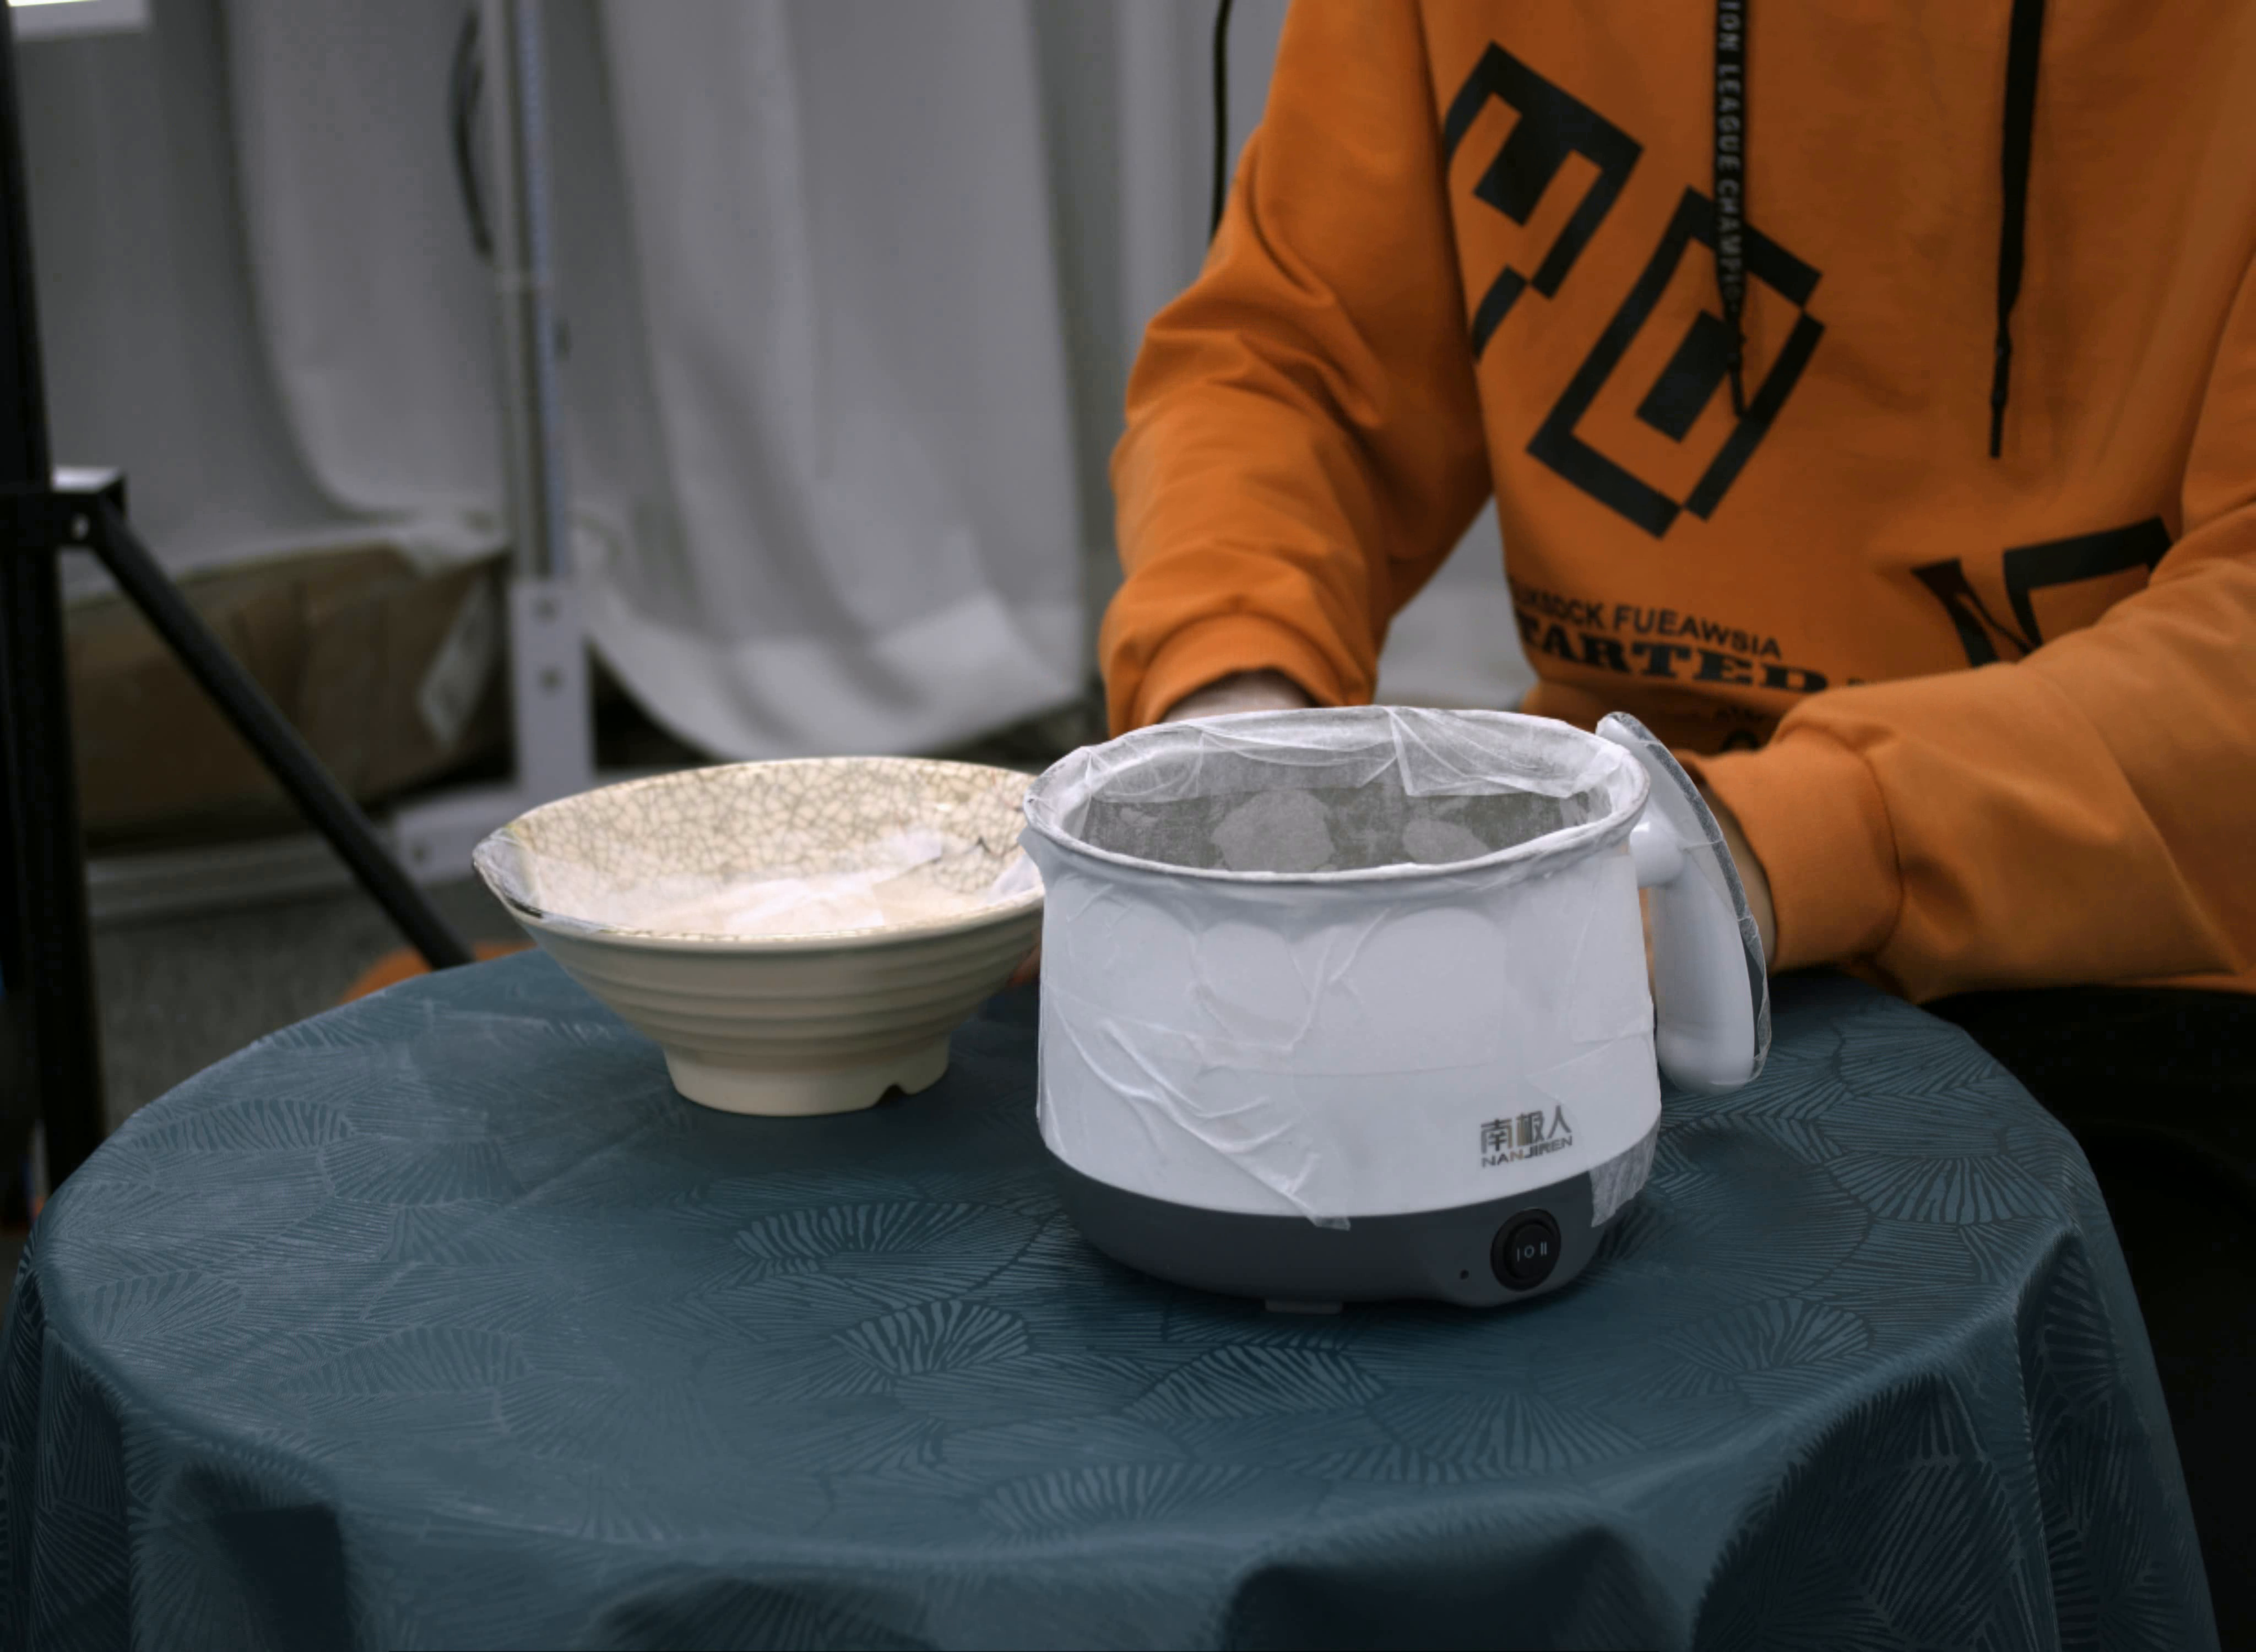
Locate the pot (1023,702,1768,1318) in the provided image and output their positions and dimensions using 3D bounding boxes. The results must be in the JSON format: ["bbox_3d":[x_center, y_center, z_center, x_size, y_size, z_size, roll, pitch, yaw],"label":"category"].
[{"bbox_3d":[0.084,0.045,1.515,0.228,0.136,0.183,-12,19,-30],"label":"pot"}]

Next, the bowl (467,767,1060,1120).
[{"bbox_3d":[-0.104,0.043,1.670,0.203,0.078,0.205,-2,14,-1],"label":"bowl"}]
